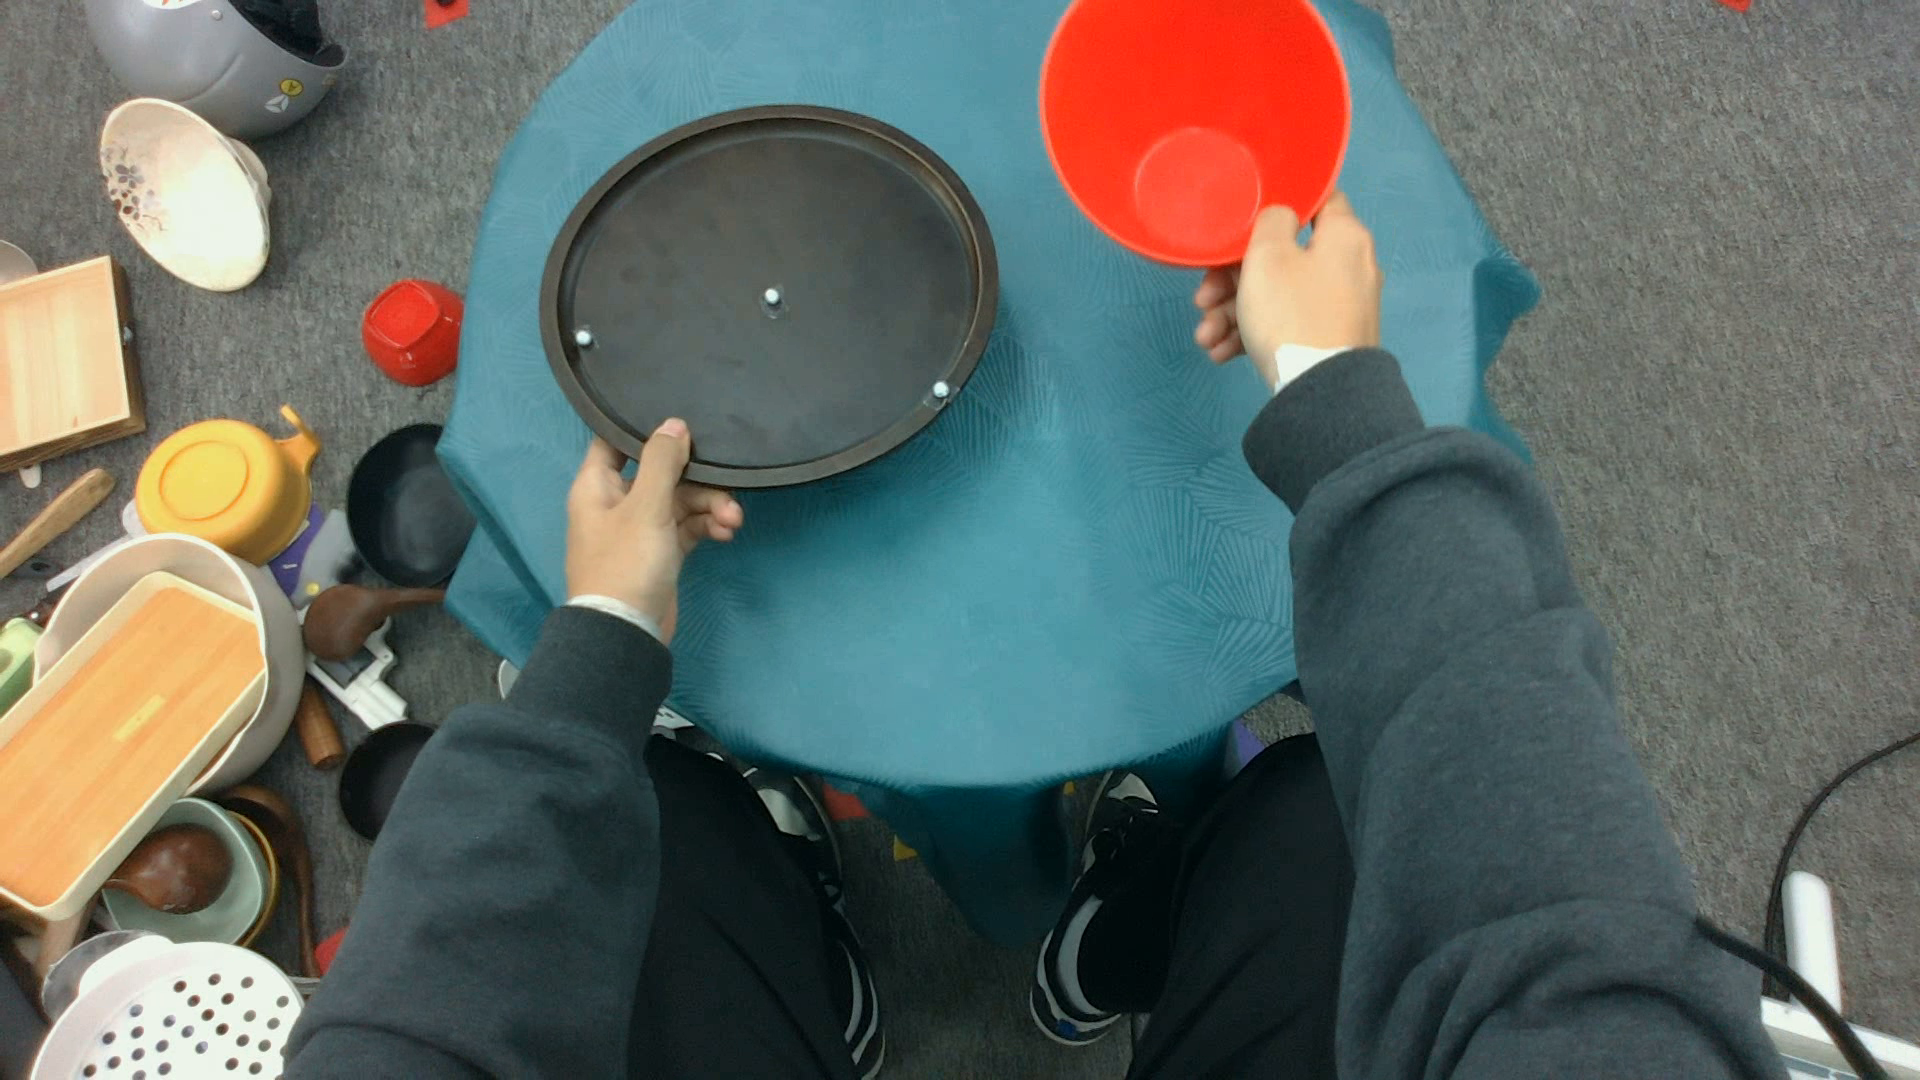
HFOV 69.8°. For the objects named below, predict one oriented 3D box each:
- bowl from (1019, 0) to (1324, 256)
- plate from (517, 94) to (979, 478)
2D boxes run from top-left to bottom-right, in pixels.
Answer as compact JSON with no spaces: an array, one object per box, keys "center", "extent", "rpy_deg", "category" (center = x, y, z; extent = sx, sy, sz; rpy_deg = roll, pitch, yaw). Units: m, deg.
[{"center":[0.104,-0.206,0.699],"extent":[0.148,0.104,0.148],"rpy_deg":[0,80,2],"category":"bowl"},{"center":[-0.116,-0.145,0.762],"extent":[0.255,0.029,0.255],"rpy_deg":[0,65,0],"category":"plate"}]
